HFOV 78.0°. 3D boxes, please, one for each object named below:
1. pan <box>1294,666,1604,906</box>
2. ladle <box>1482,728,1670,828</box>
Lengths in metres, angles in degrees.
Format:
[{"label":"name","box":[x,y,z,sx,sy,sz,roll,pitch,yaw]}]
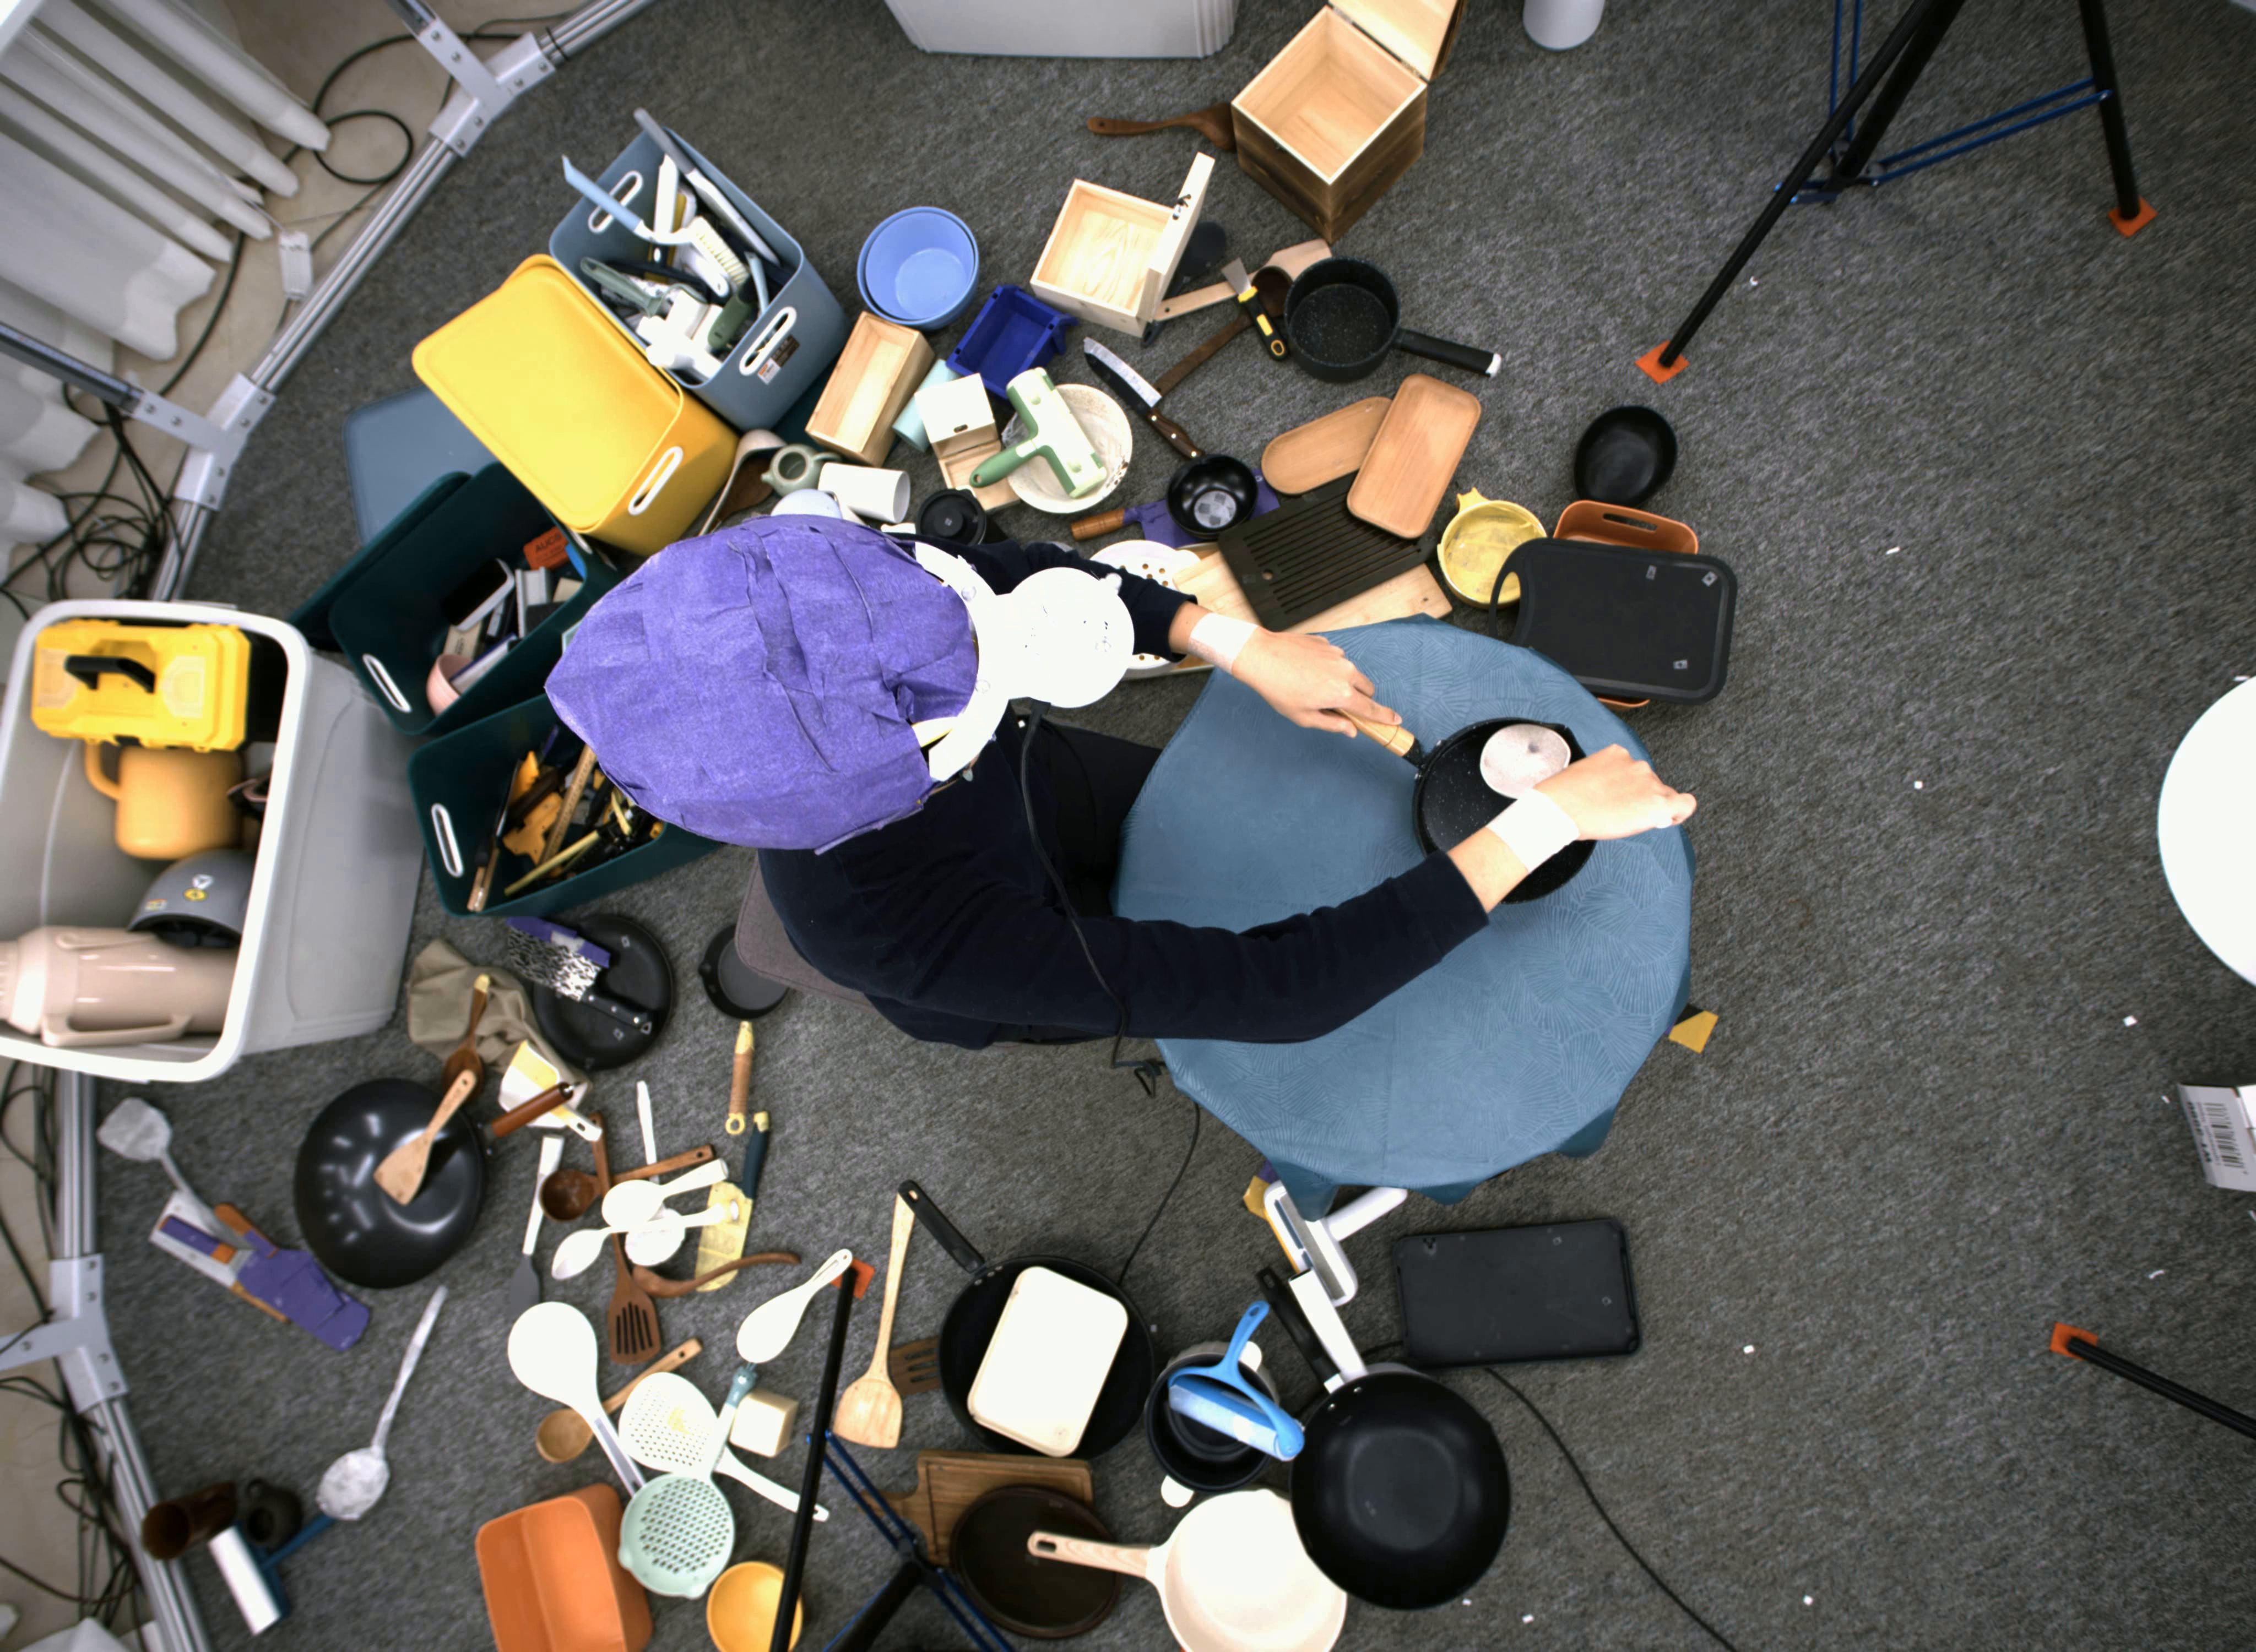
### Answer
[{"label":"pan","box":[0.308,-0.059,1.373,0.343,0.107,0.209,31,100,-3]},{"label":"ladle","box":[0.404,-0.050,1.235,0.089,0.273,0.070,-24,100,-3]}]
